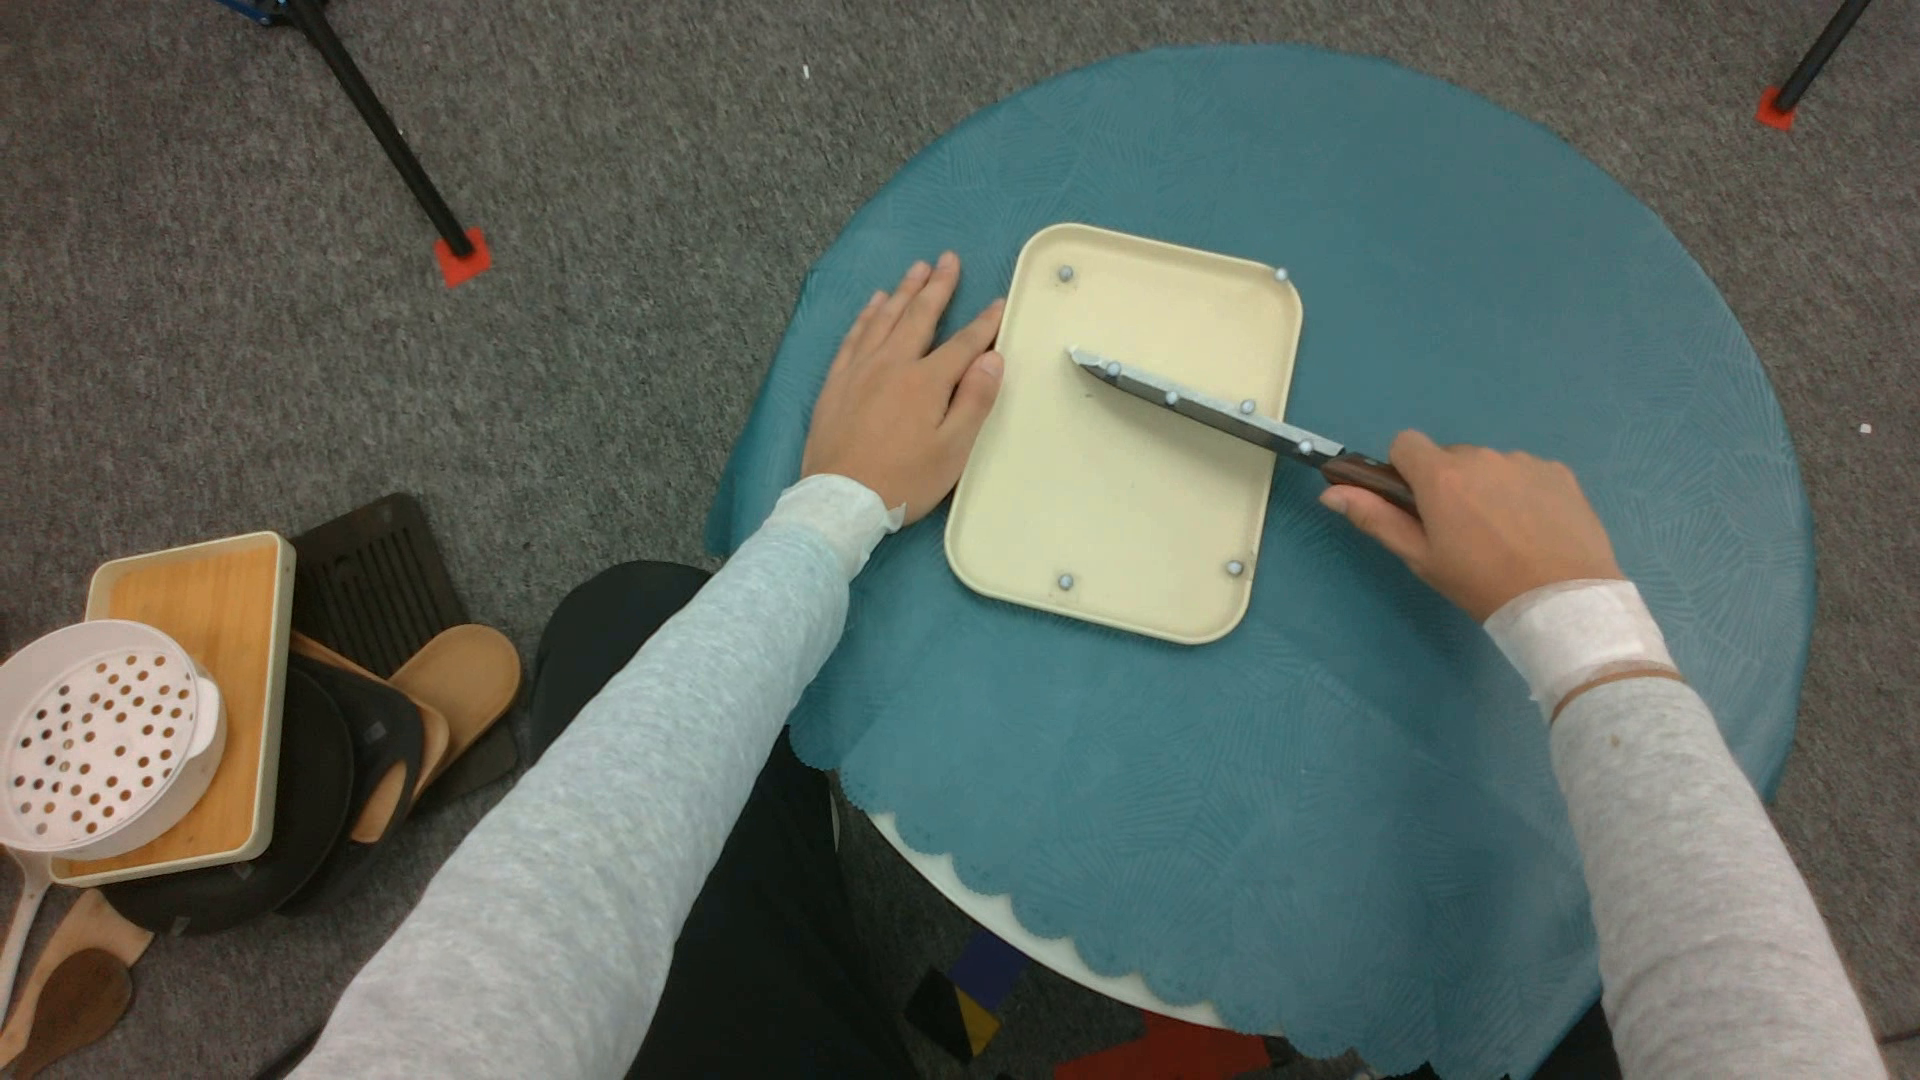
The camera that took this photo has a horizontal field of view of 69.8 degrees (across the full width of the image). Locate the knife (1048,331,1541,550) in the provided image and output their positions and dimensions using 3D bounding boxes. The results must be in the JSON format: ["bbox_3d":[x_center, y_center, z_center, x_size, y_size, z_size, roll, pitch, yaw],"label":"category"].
[{"bbox_3d":[0.174,-0.061,0.753,0.289,0.020,0.050,26,29,18],"label":"knife"}]

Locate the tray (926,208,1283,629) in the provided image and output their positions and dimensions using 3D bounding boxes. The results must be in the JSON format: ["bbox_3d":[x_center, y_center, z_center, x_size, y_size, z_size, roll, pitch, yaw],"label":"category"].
[{"bbox_3d":[0.085,-0.073,0.783,0.171,0.017,0.240,14,71,4],"label":"tray"}]
